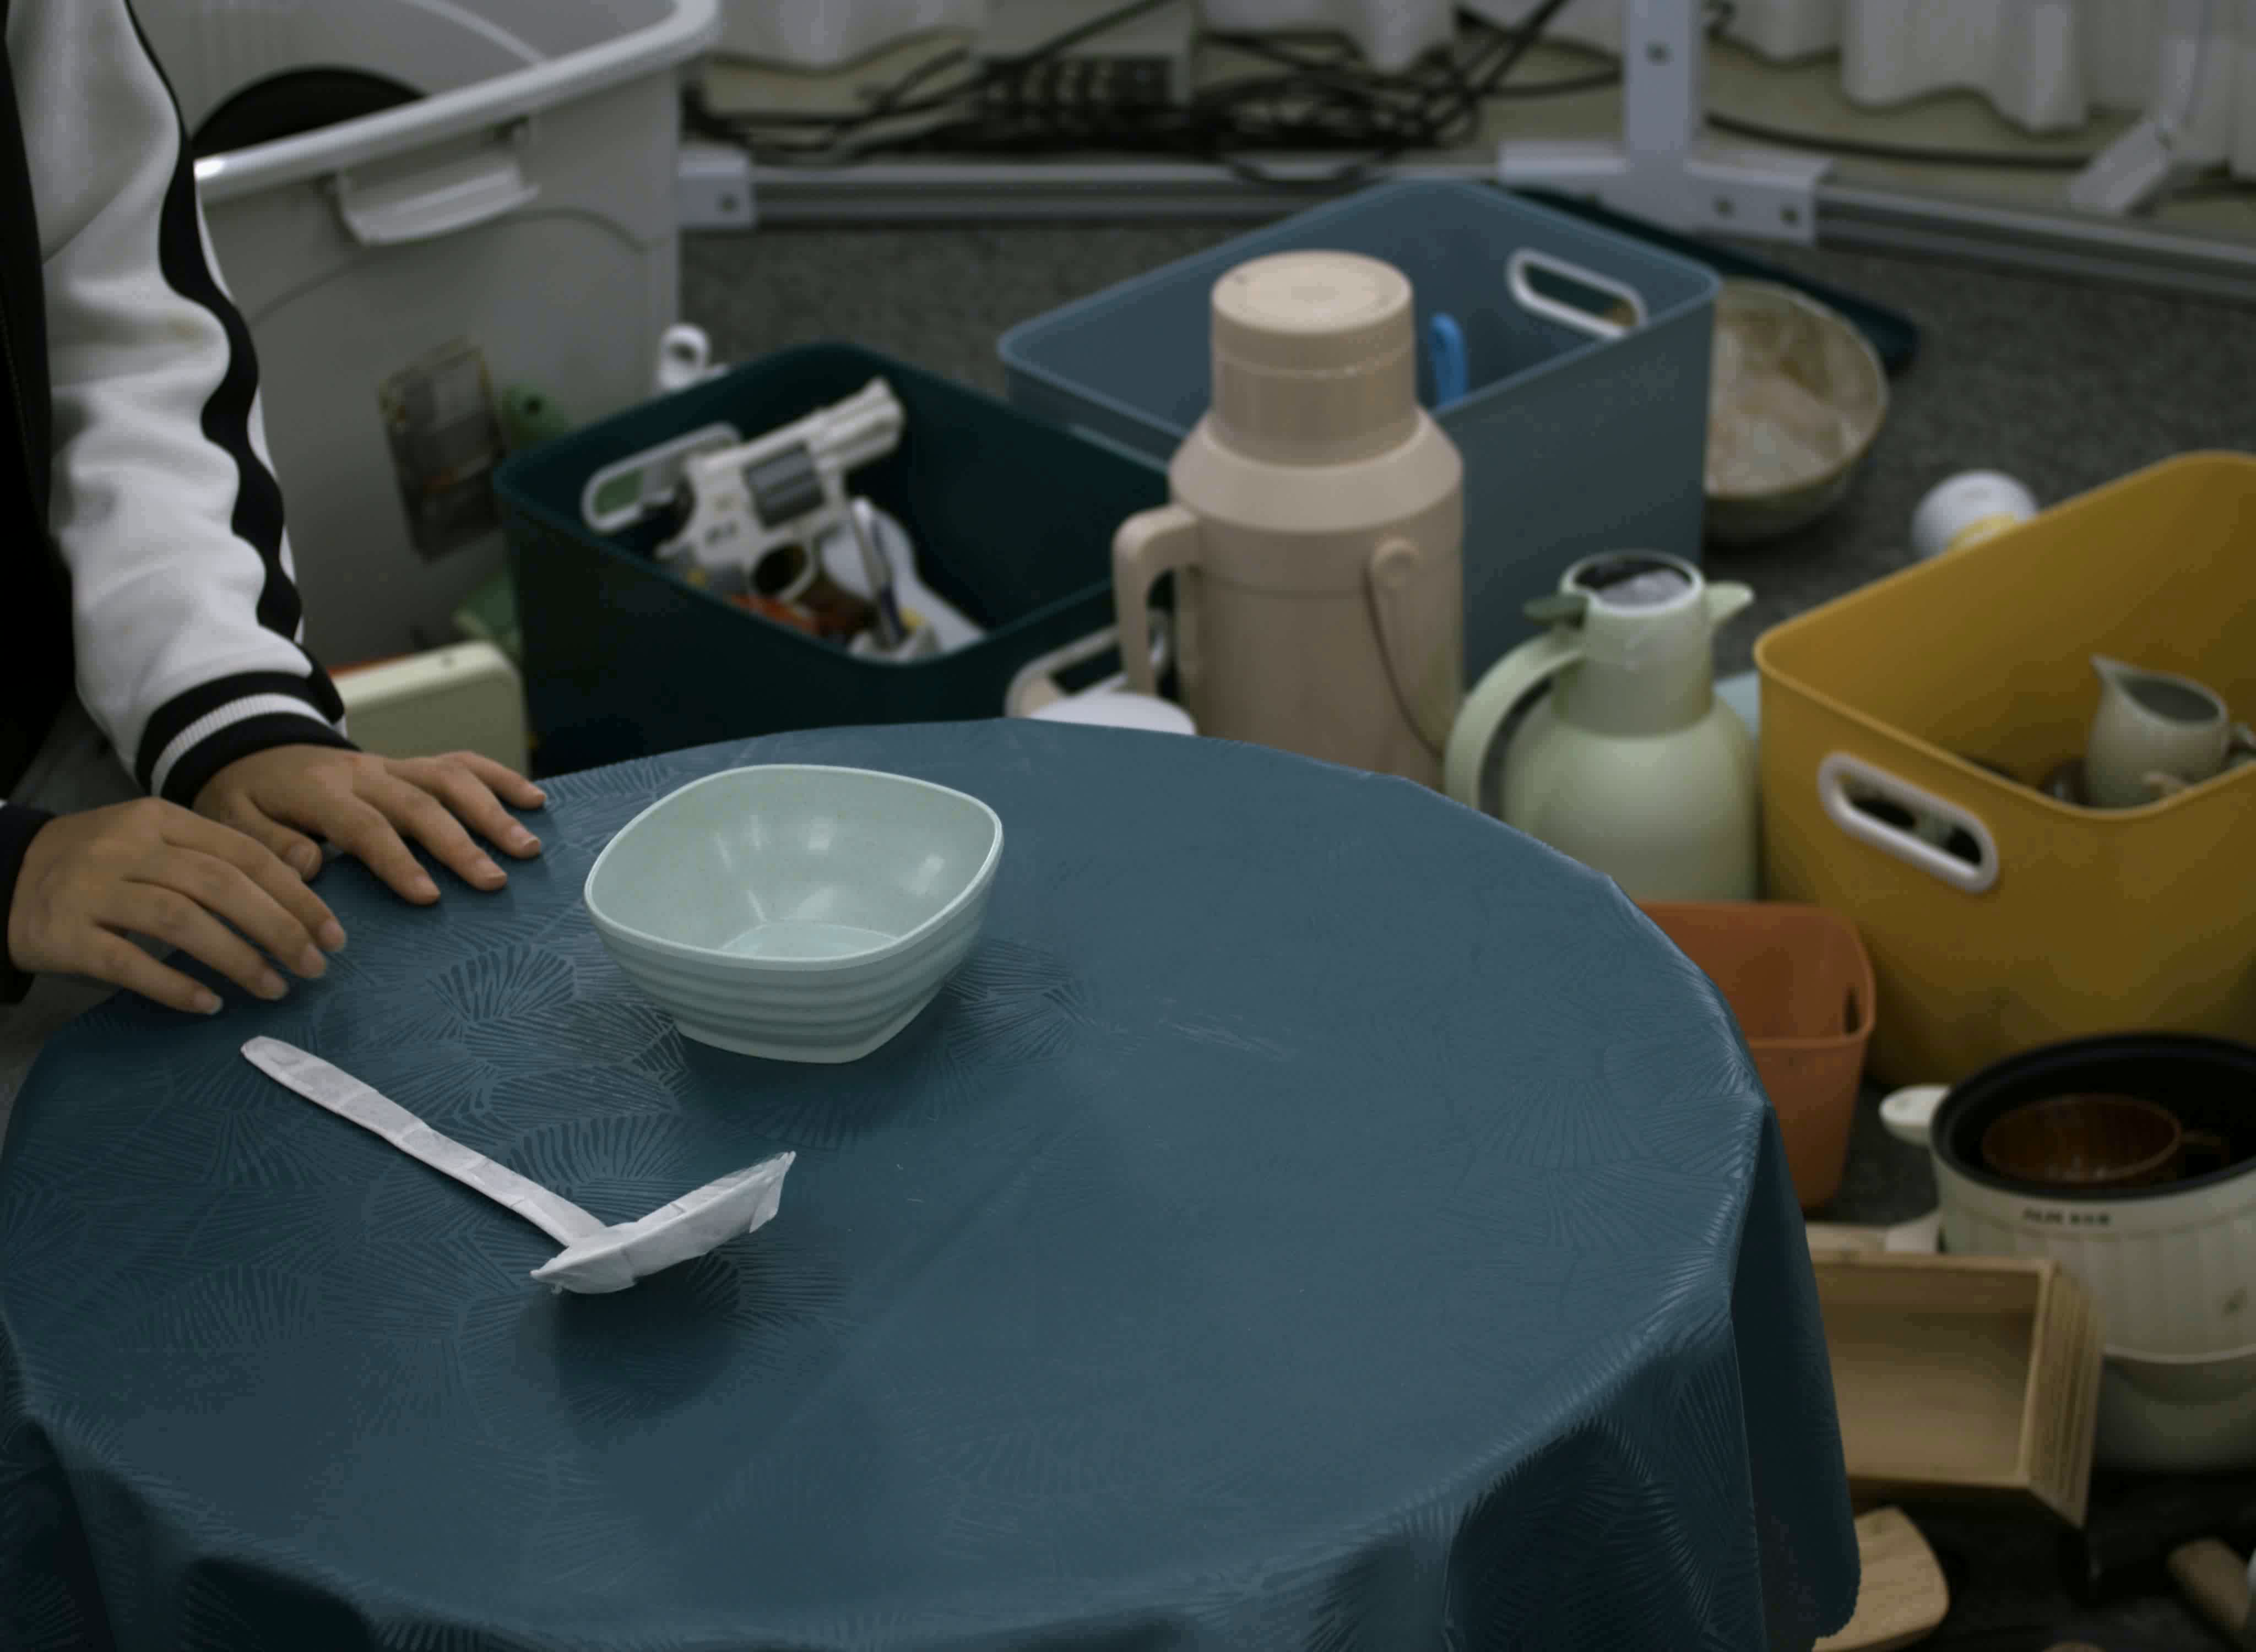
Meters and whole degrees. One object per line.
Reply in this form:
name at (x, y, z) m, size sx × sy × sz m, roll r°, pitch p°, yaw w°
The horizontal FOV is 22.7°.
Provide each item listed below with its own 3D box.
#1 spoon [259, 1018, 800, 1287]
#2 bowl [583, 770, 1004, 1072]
spoon at (-0.210, 0.092, 1.877) m, size 0.101 × 0.059 × 0.277 m, roll -17°, pitch 30°, yaw -36°
bowl at (-0.115, 0.039, 1.976) m, size 0.151 × 0.058 × 0.154 m, roll -2°, pitch 27°, yaw 1°
